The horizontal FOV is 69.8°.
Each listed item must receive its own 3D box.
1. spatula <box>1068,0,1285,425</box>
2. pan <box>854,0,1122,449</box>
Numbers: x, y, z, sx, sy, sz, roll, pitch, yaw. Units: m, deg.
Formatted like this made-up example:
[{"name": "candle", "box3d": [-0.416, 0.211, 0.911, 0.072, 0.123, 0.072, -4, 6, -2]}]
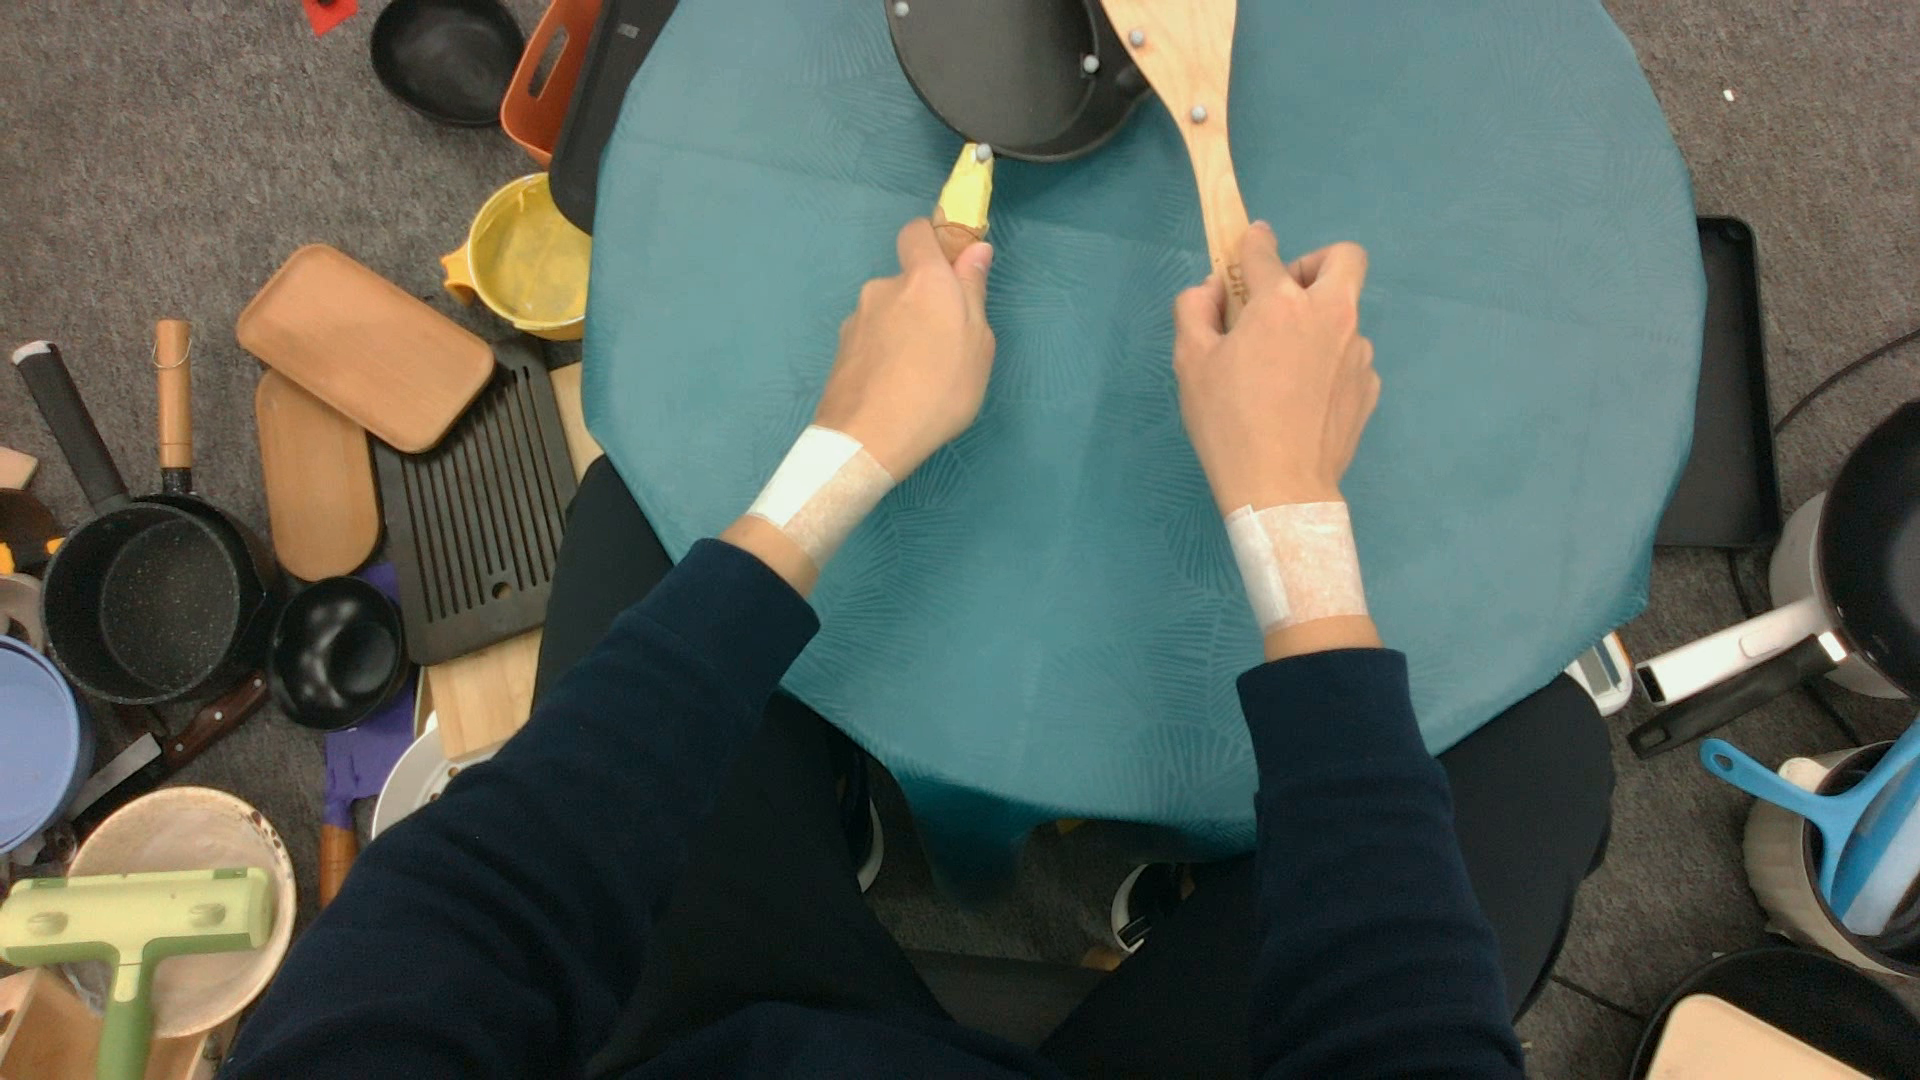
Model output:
[{"name": "spatula", "box3d": [0.108, -0.205, 0.687, 0.080, 0.016, 0.328, -13, 69, 4]}, {"name": "pan", "box3d": [-0.008, -0.197, 0.701, 0.169, 0.049, 0.325, 22, 74, -24]}]
